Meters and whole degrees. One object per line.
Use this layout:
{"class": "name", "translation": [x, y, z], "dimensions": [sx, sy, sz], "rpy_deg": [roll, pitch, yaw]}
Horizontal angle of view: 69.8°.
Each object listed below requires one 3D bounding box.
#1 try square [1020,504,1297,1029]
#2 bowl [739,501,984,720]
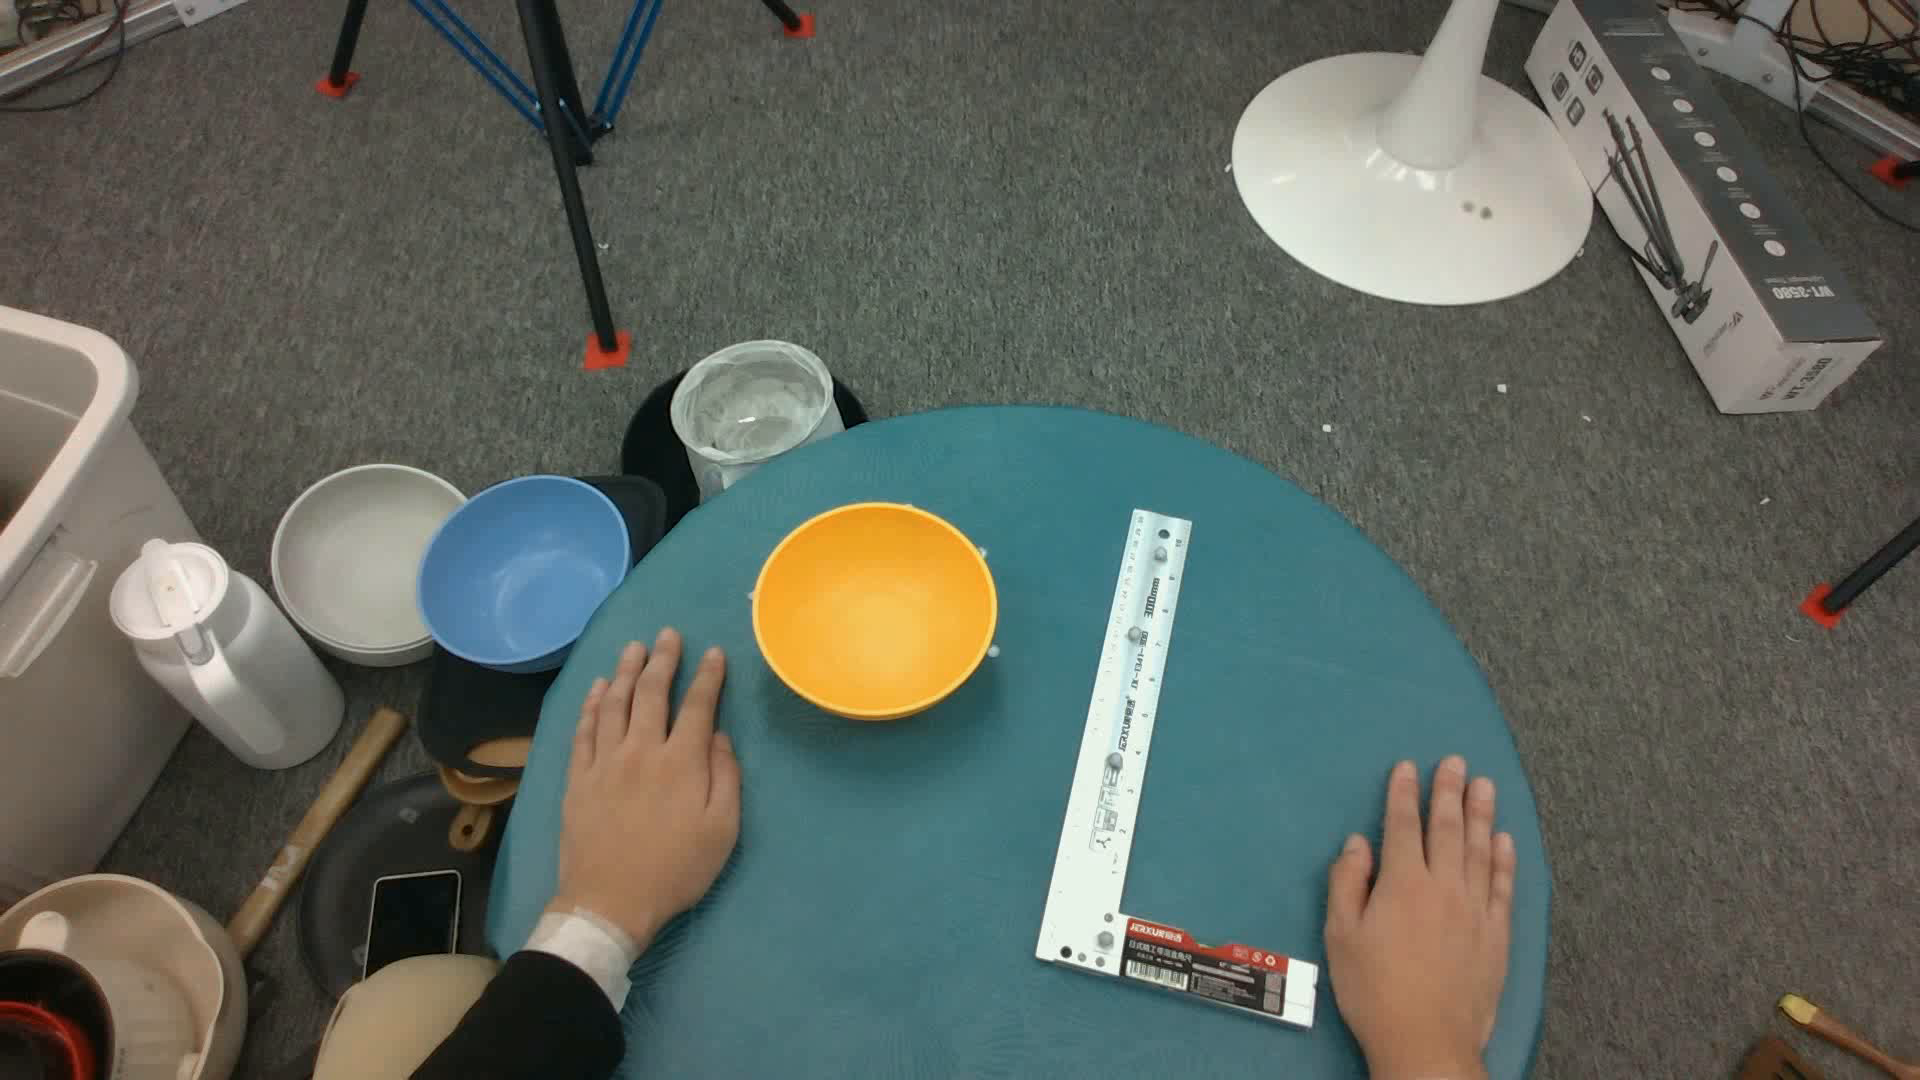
{"class": "try square", "translation": [0.141, 0.120, 0.832], "dimensions": [0.152, 0.016, 0.314], "rpy_deg": [15, 57, 2]}
{"class": "bowl", "translation": [-0.058, 0.052, 0.835], "dimensions": [0.145, 0.060, 0.146], "rpy_deg": [0, 59, 0]}
